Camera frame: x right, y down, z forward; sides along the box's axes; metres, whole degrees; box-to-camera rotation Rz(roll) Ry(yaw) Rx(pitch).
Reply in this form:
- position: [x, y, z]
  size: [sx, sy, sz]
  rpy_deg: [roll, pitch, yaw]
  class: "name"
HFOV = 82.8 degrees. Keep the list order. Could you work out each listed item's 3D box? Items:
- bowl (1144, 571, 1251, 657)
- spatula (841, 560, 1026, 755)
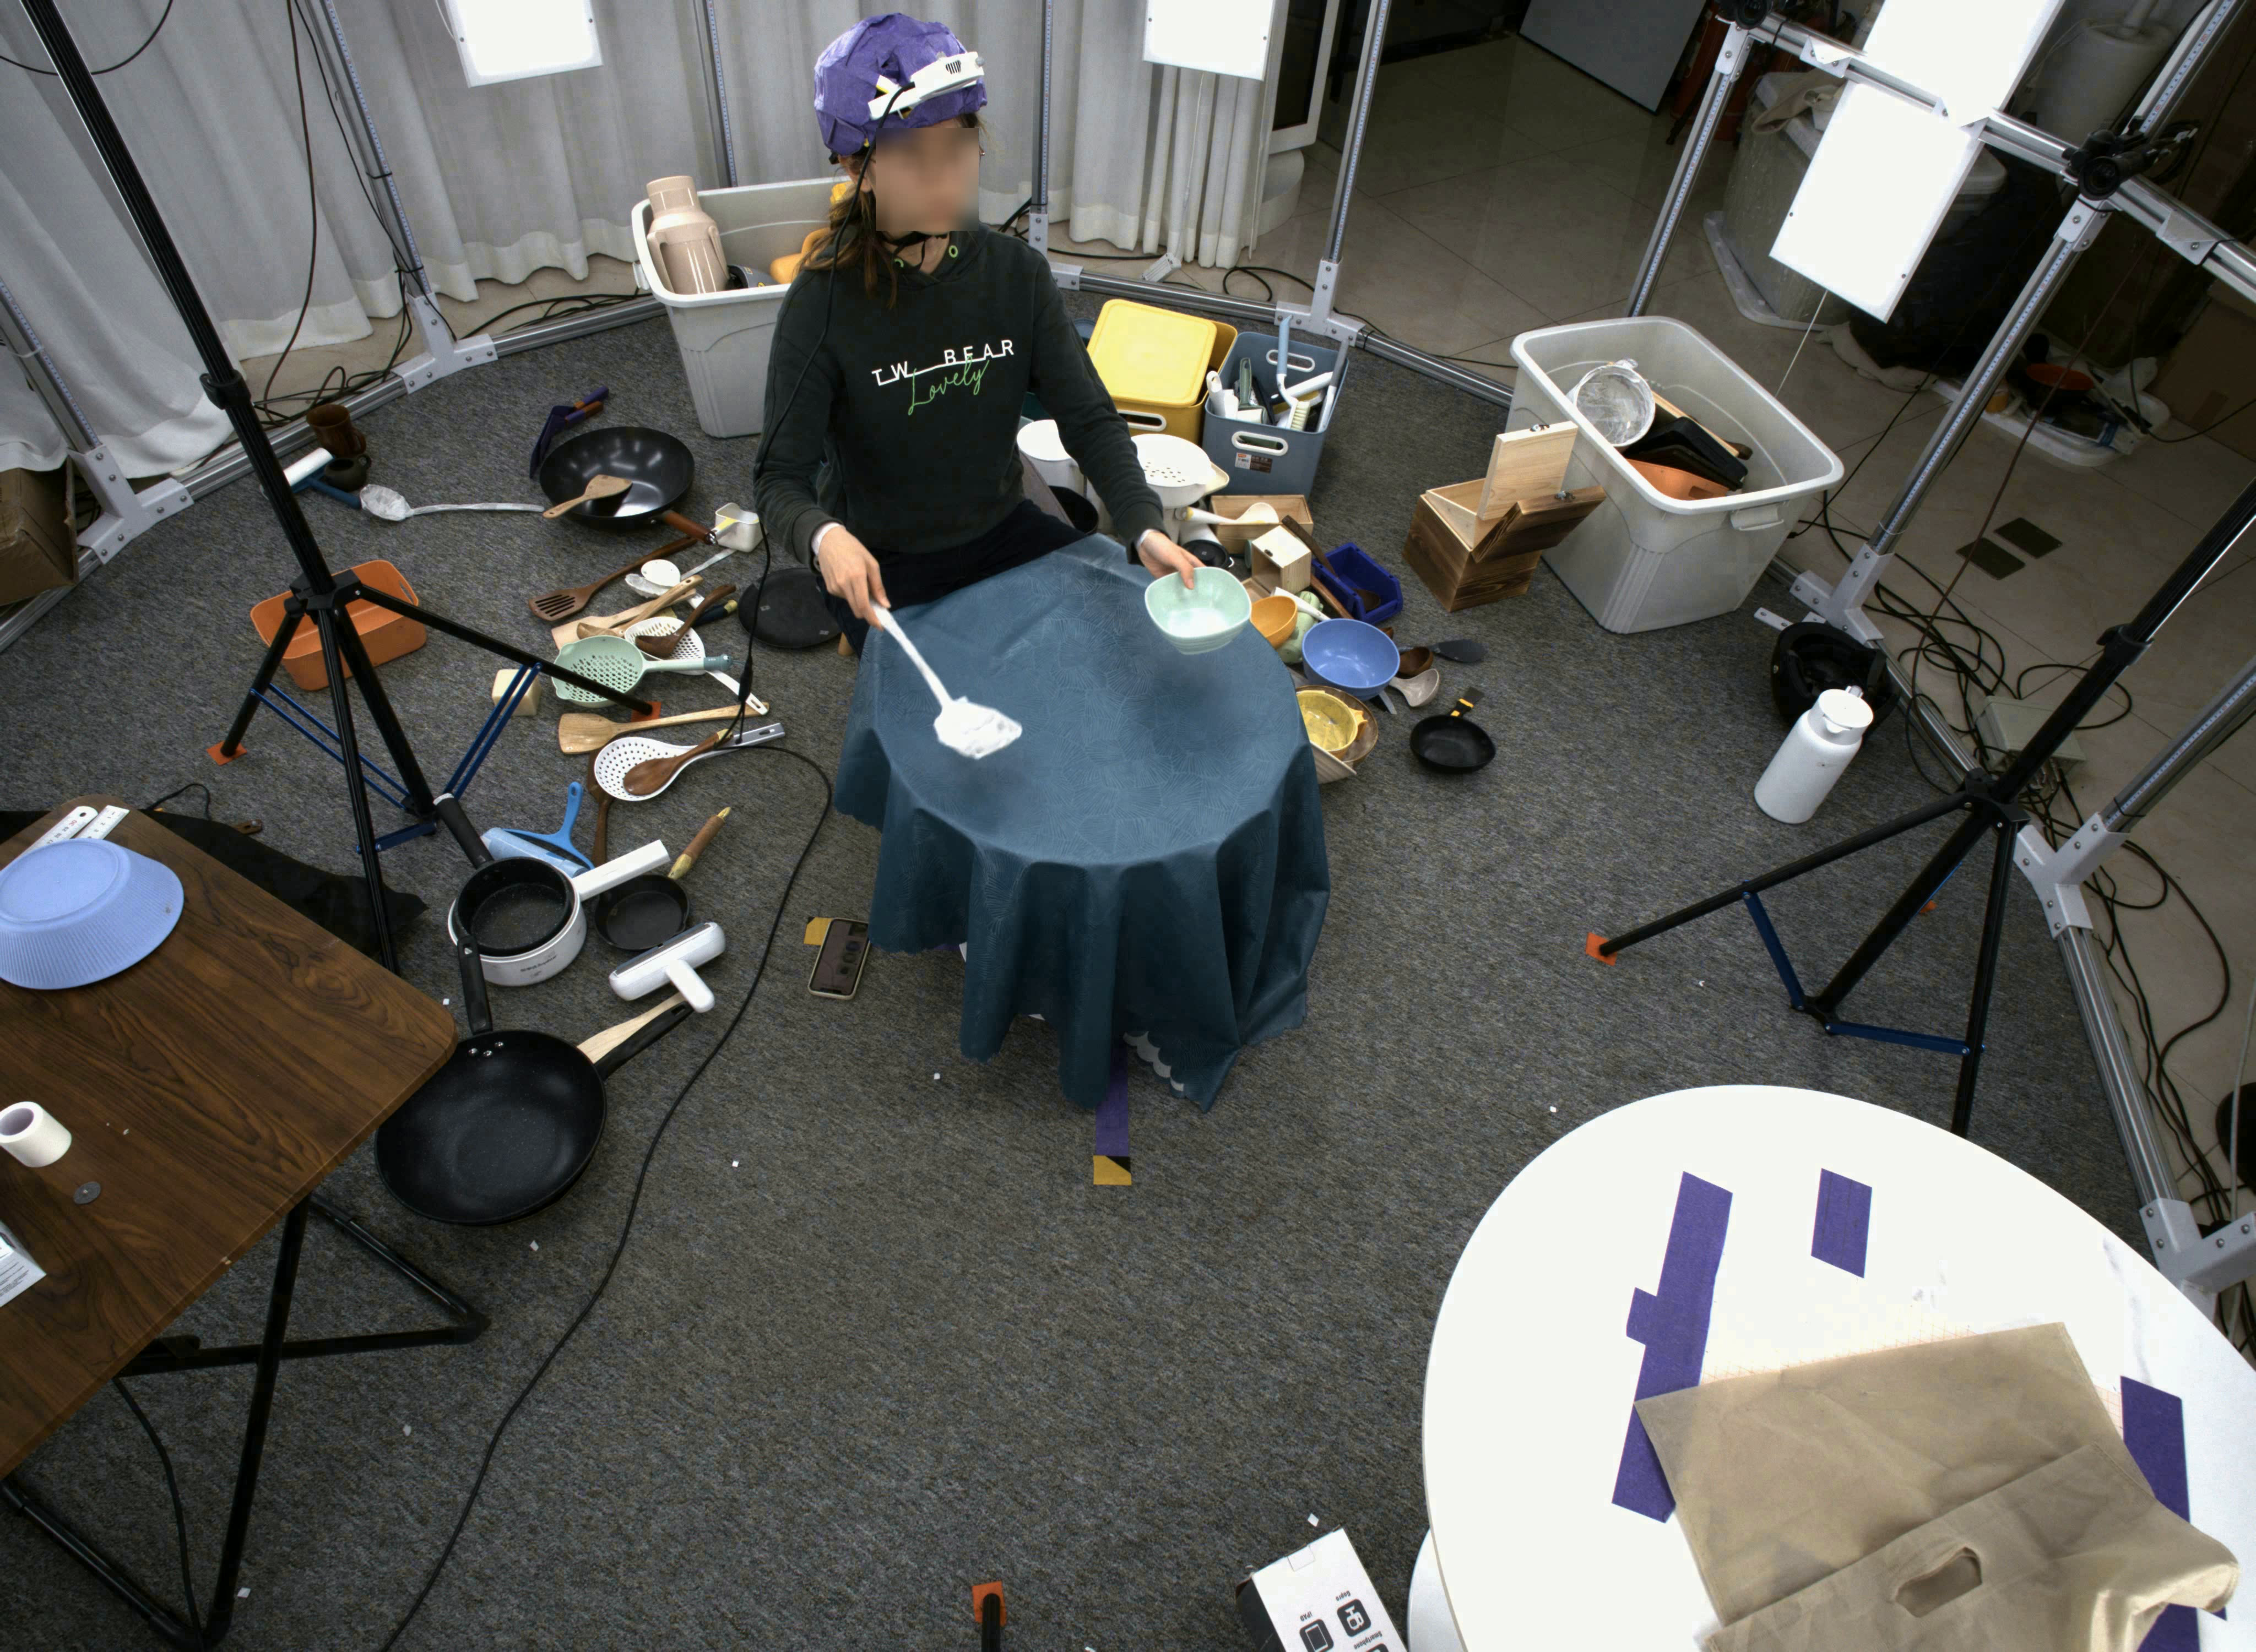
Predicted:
- position: [0.096, -0.285, 1.781]
  size: [0.151, 0.057, 0.155]
  rpy_deg: [-2, 47, 1]
  class: "bowl"
- position: [-0.273, -0.229, 1.687]
  size: [0.099, 0.044, 0.369]
  rpy_deg: [-29, 72, -33]
  class: "spatula"
